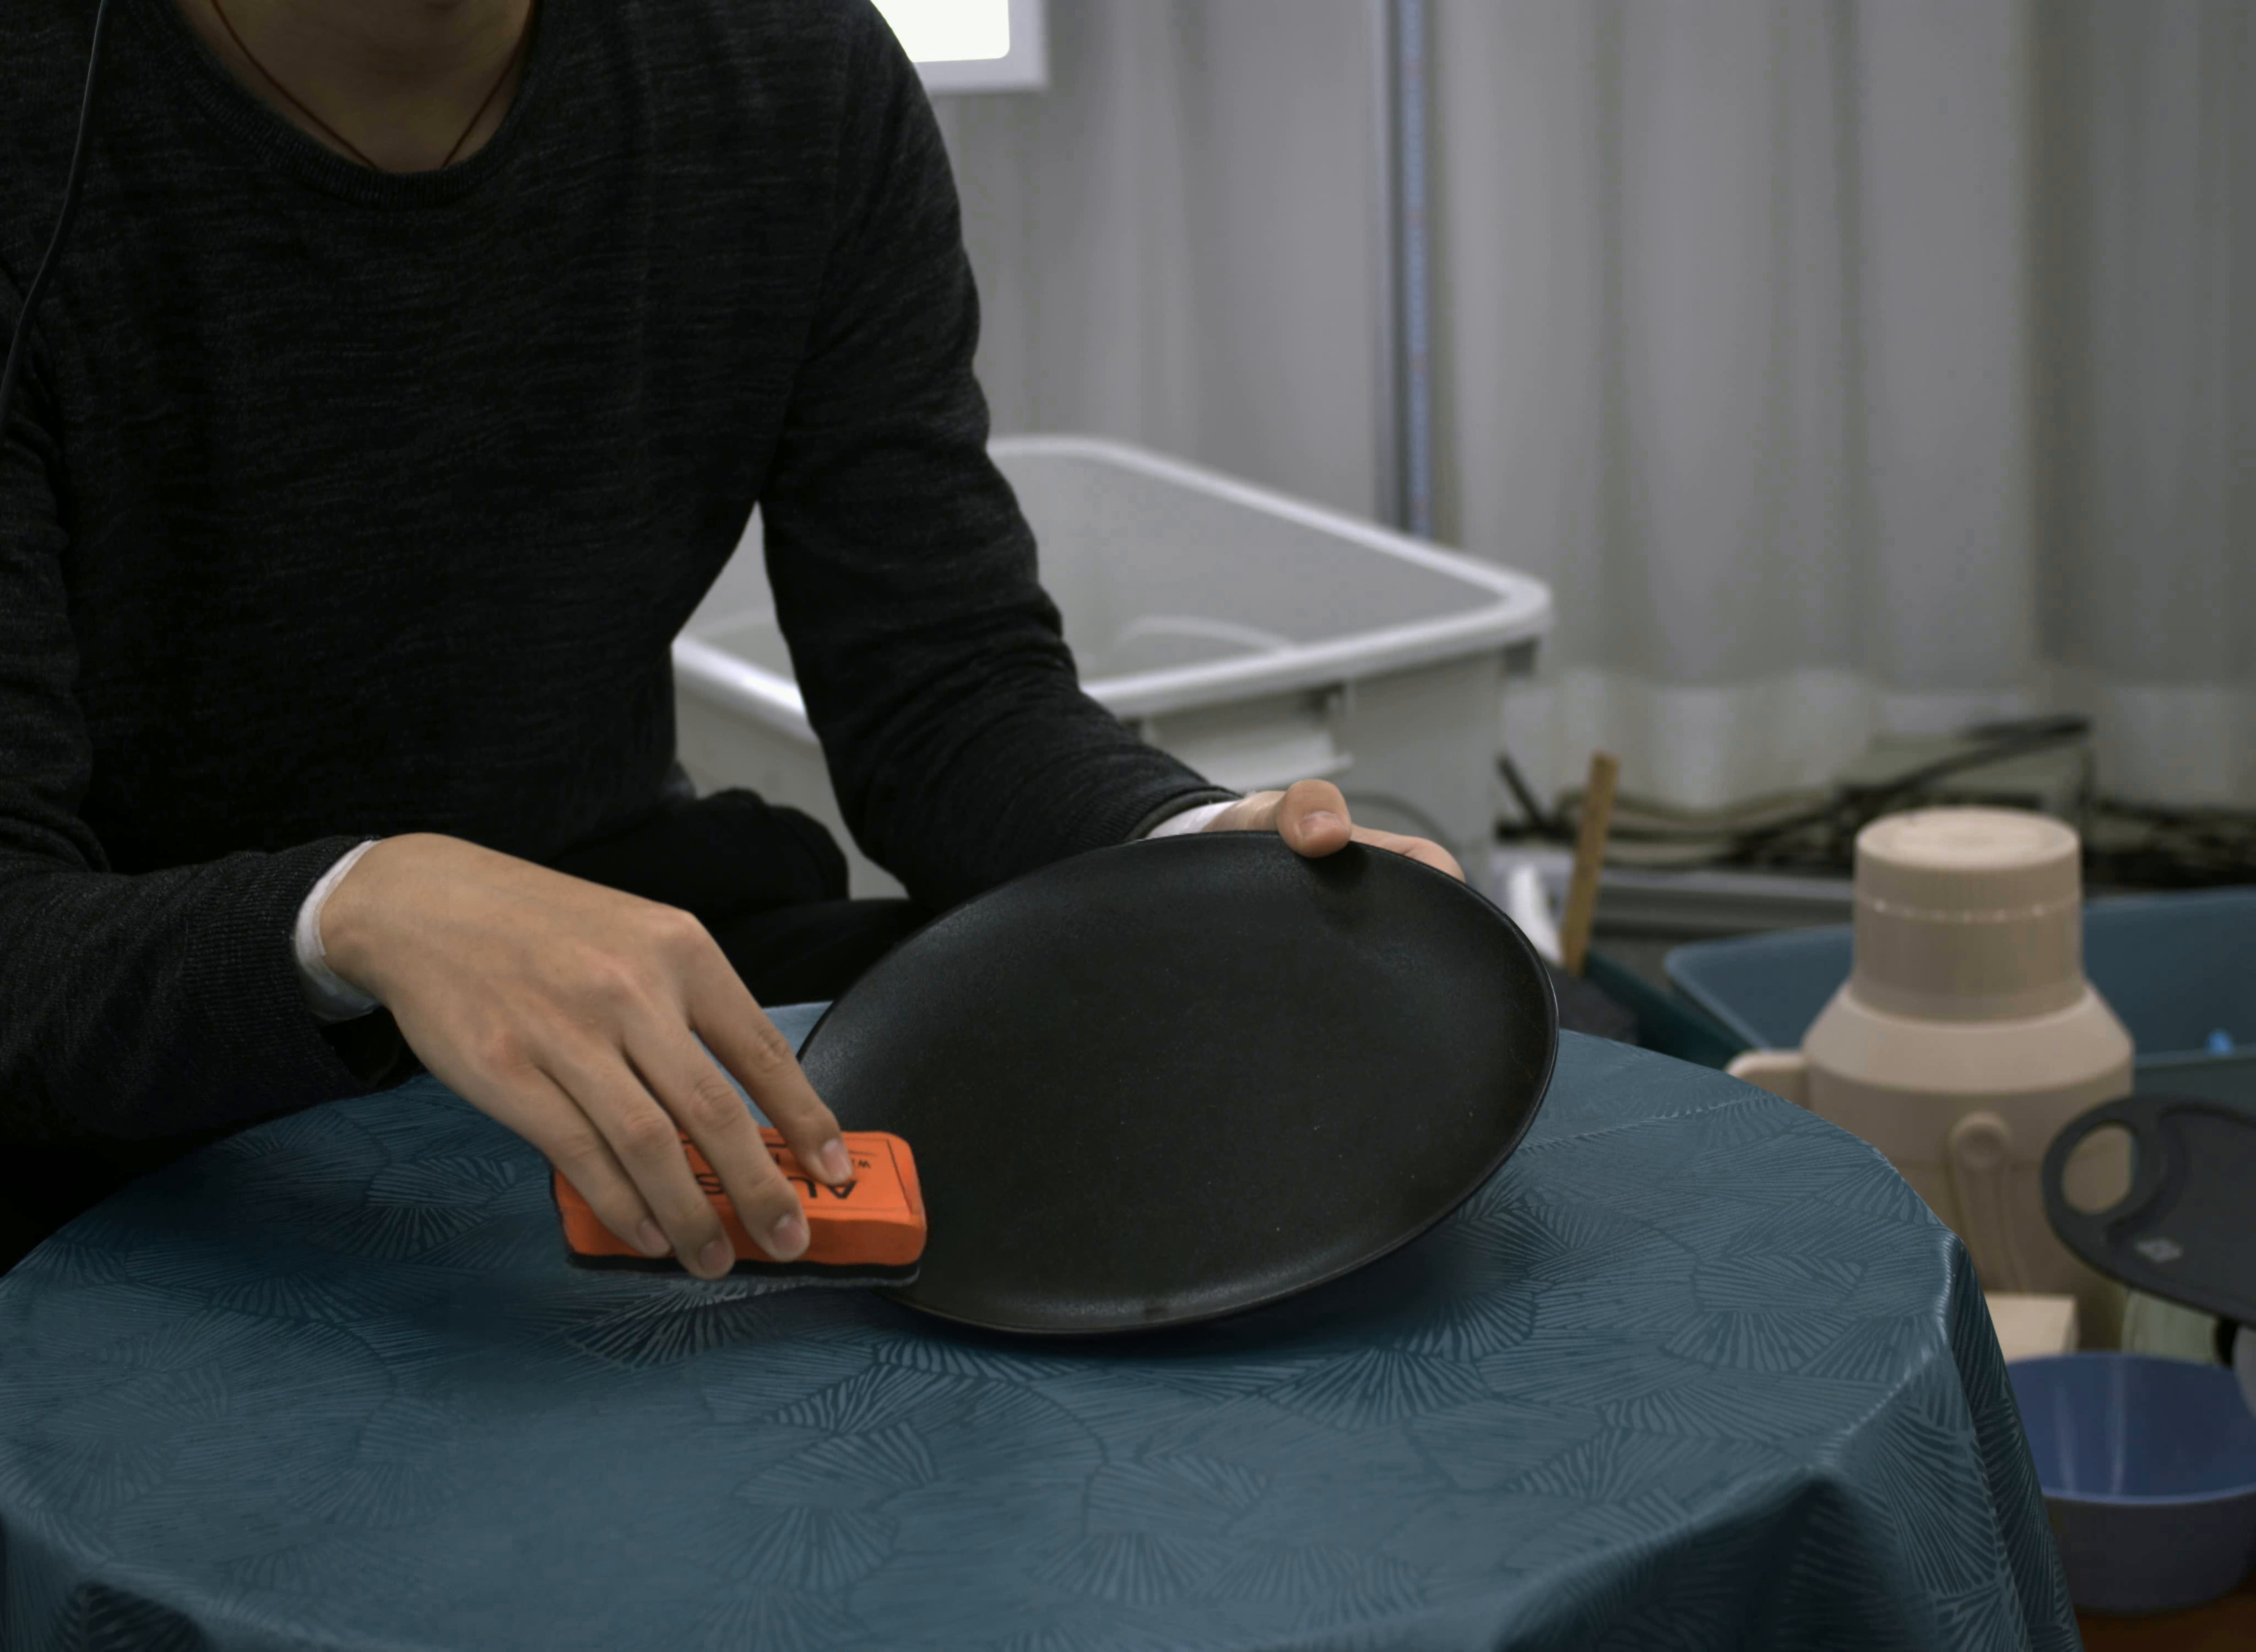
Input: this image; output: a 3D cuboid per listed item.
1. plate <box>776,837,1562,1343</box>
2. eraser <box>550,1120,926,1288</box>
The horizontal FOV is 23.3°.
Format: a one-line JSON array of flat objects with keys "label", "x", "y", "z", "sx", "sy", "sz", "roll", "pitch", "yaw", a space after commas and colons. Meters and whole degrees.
[{"label": "plate", "x": 0.013, "y": 0.082, "z": 1.668, "sx": 0.244, "sy": 0.023, "sz": 0.248, "roll": -9, "pitch": 34, "yaw": 6}, {"label": "eraser", "x": -0.115, "y": 0.112, "z": 1.614, "sx": 0.107, "sy": 0.023, "sz": 0.059, "roll": 4, "pitch": 22, "yaw": -10}]
